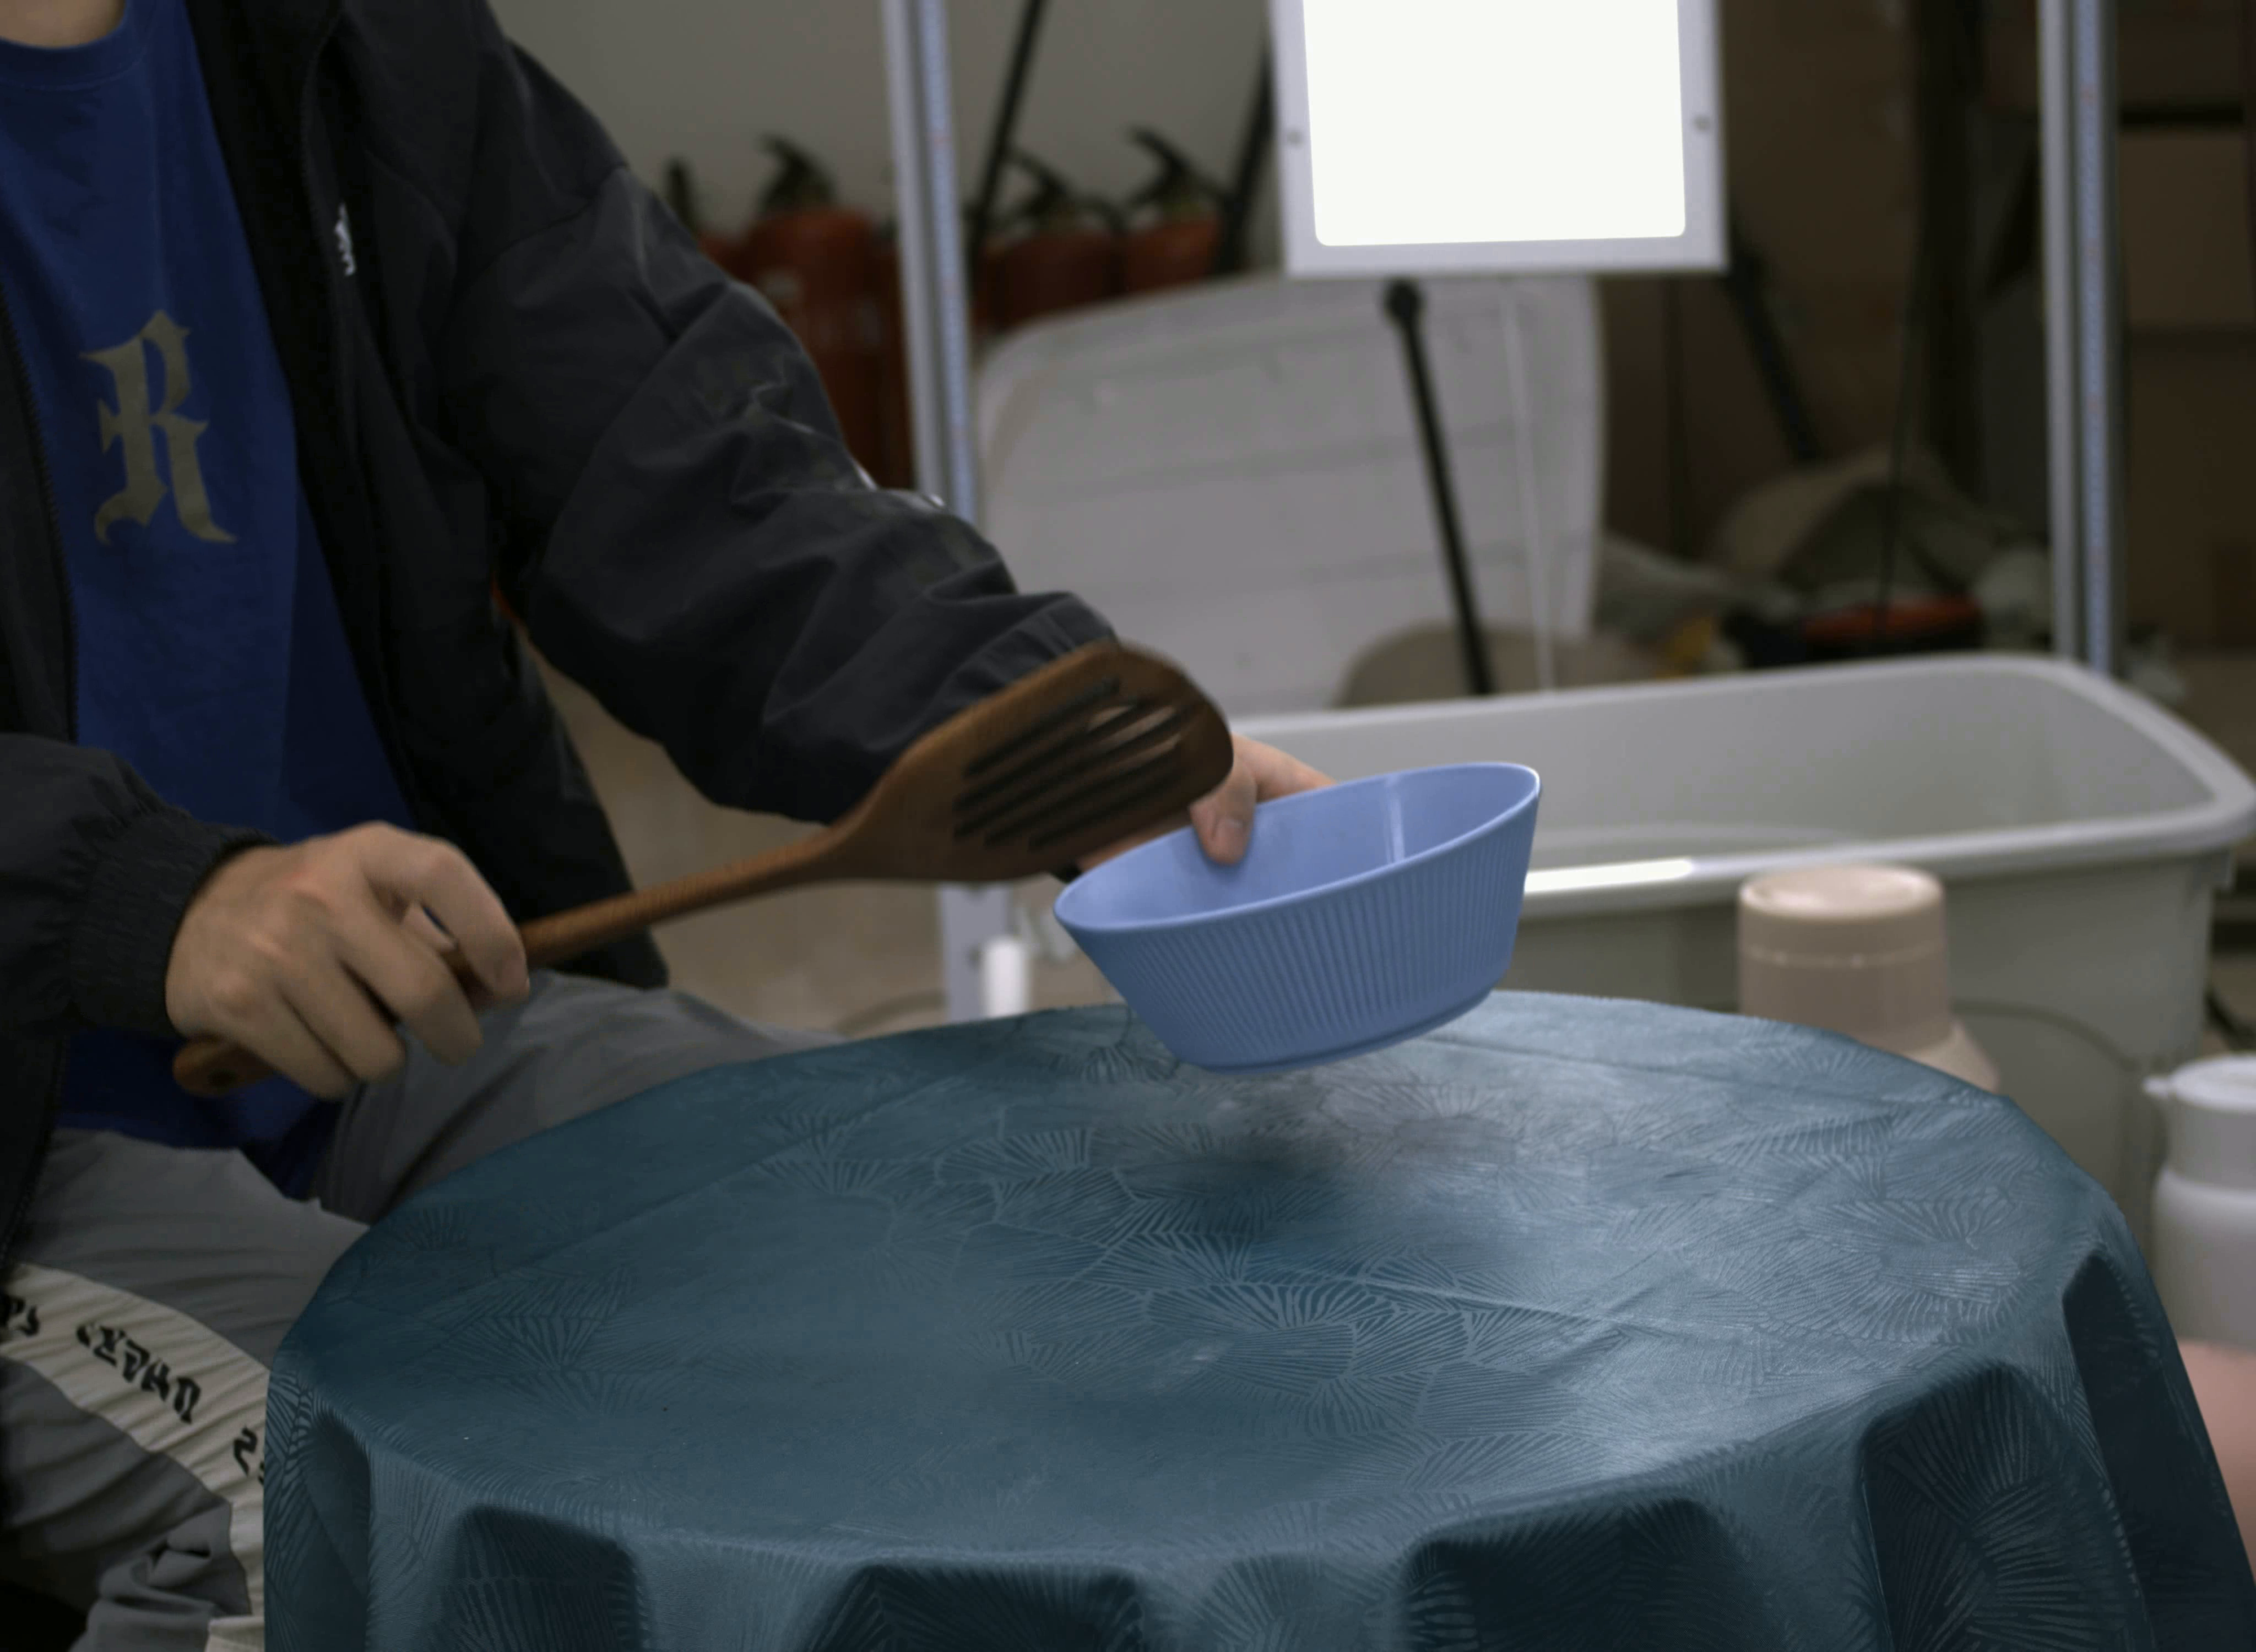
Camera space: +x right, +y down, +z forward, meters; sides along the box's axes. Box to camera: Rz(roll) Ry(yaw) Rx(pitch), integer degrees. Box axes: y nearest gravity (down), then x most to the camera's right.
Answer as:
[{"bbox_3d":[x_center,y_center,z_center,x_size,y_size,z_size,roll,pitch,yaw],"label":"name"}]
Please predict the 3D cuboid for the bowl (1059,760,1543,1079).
[{"bbox_3d":[0.068,0.036,1.907,0.176,0.070,0.176,-17,9,1],"label":"bowl"}]

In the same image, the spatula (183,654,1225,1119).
[{"bbox_3d":[-0.147,0.031,1.777,0.393,0.084,0.024,-20,50,24],"label":"spatula"}]
